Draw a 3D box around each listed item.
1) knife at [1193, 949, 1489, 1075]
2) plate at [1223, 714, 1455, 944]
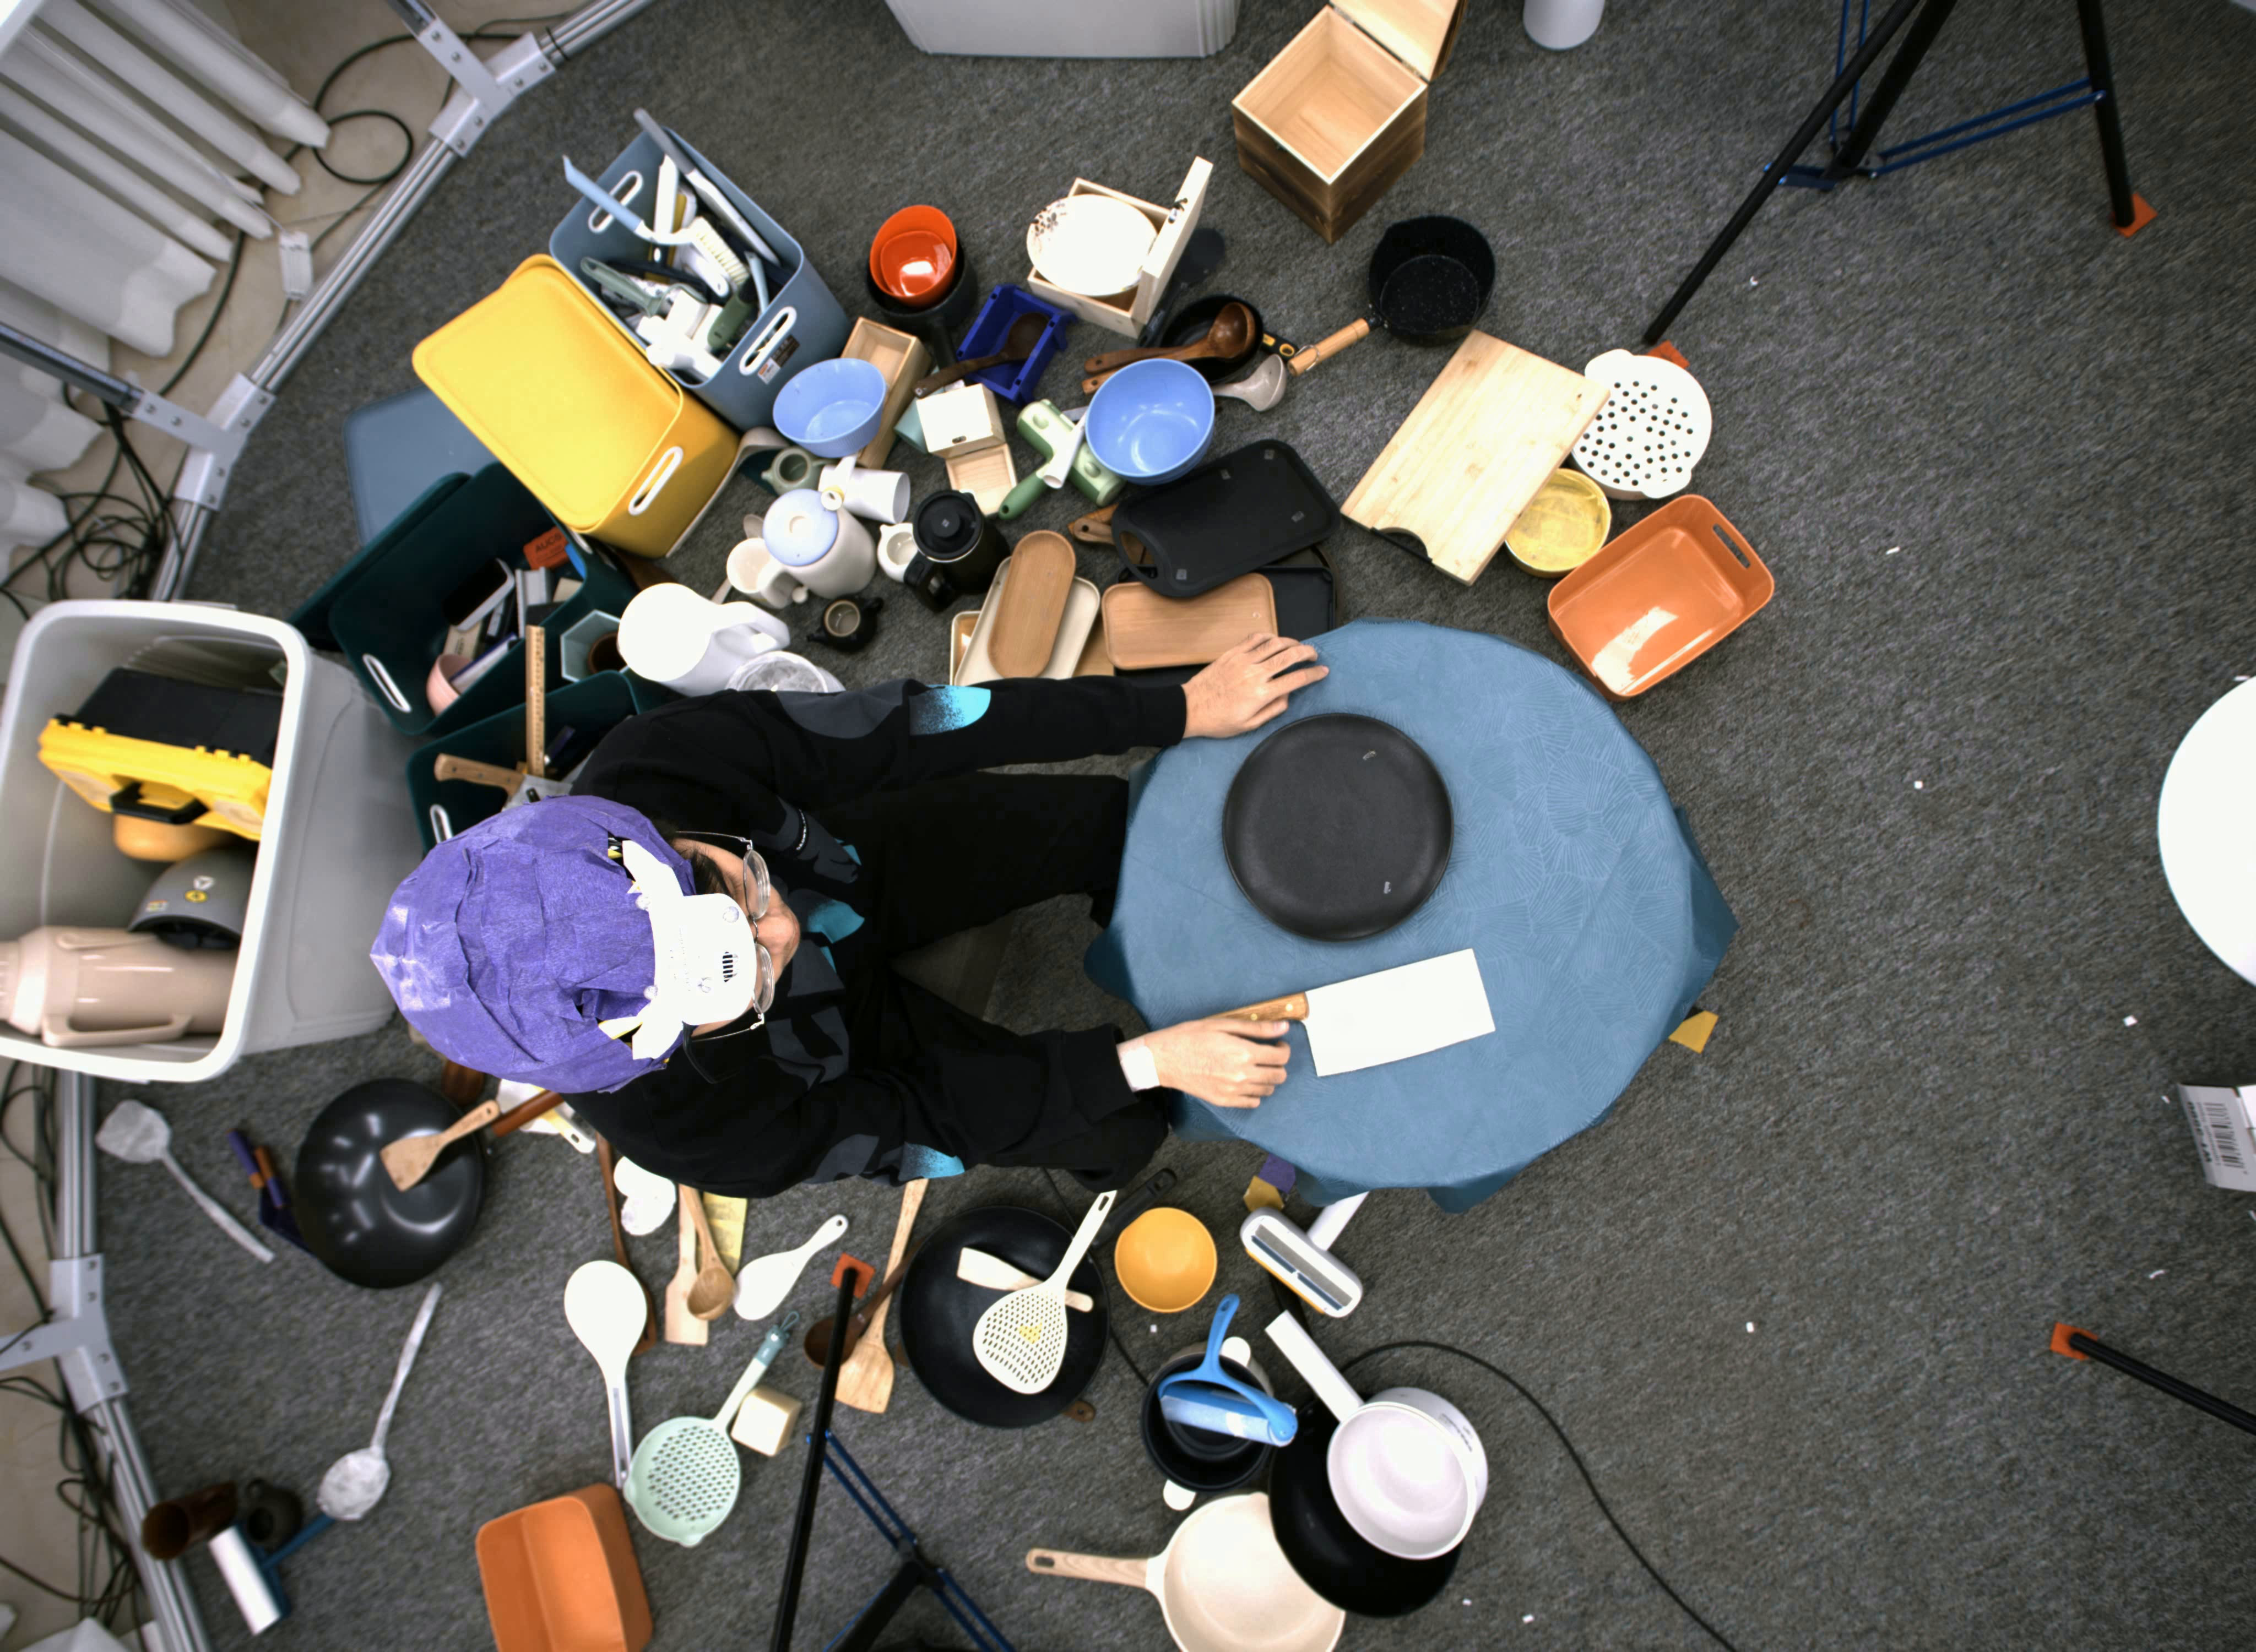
[{"bbox_3d":[0.224,0.207,1.453,0.307,0.021,0.092,-15,85,7],"label":"knife"},{"bbox_3d":[0.222,0.002,1.460,0.245,0.023,0.243,-1,87,10],"label":"plate"}]
